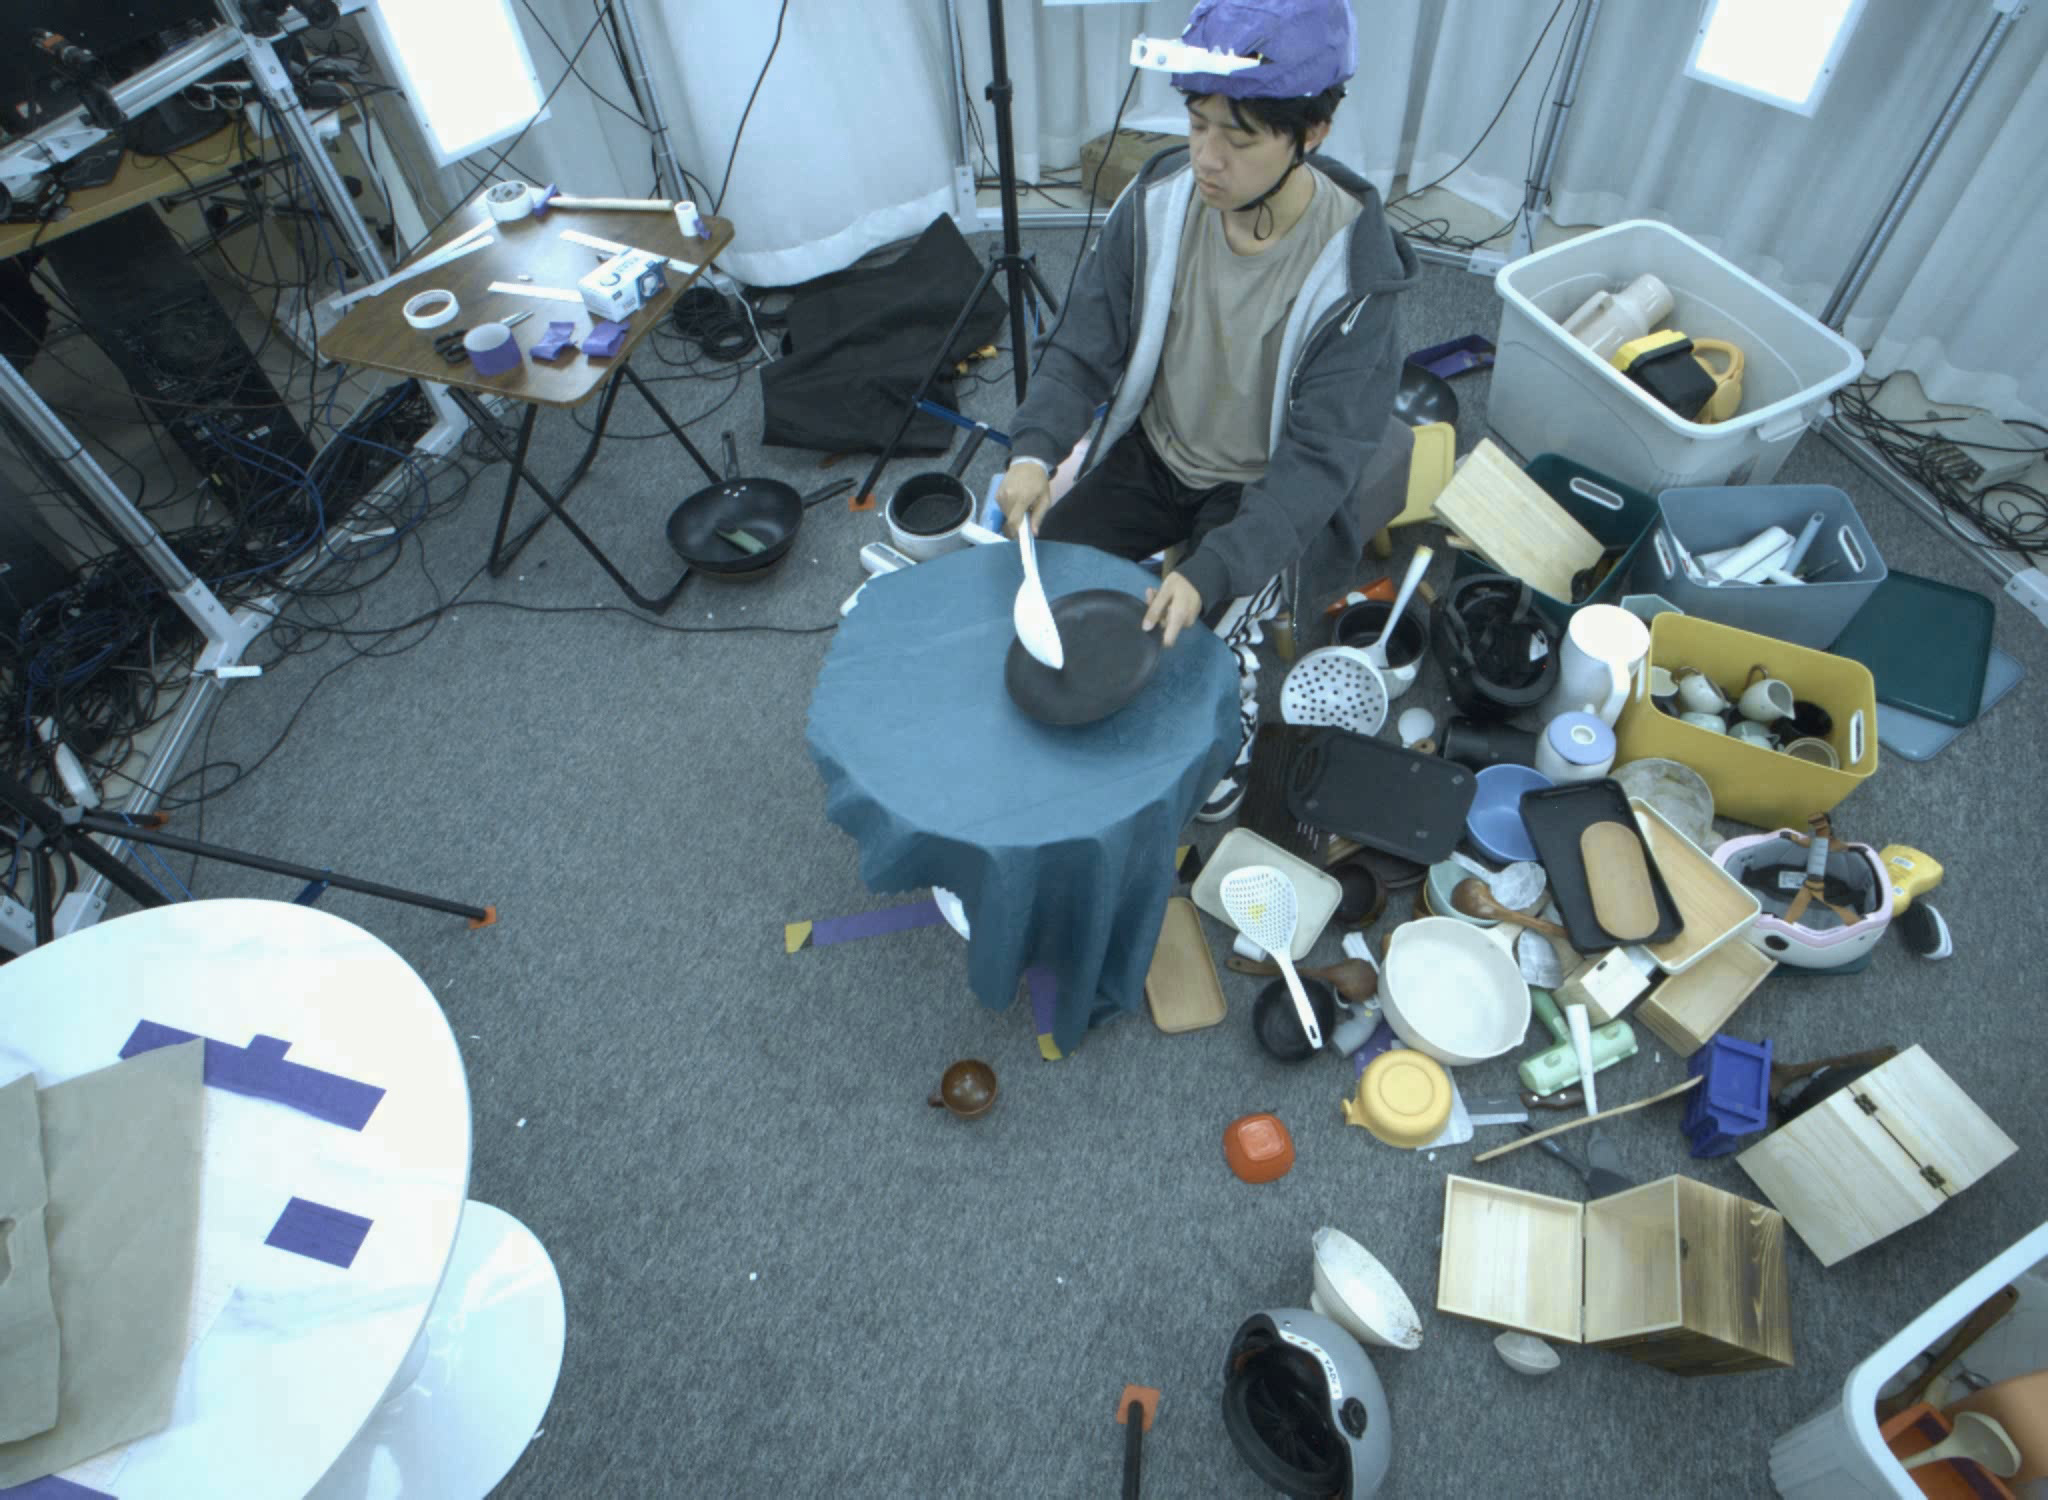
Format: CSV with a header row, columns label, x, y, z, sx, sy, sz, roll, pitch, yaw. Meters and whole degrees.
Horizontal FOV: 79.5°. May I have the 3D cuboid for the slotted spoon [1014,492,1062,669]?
label,x,y,z,sx,sy,sz,roll,pitch,yaw
slotted spoon,0.011,-0.266,1.844,0.045,0.139,0.346,-14,54,16

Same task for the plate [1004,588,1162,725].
label,x,y,z,sx,sy,sz,roll,pitch,yaw
plate,0.087,-0.136,1.815,0.242,0.024,0.242,-9,57,16
